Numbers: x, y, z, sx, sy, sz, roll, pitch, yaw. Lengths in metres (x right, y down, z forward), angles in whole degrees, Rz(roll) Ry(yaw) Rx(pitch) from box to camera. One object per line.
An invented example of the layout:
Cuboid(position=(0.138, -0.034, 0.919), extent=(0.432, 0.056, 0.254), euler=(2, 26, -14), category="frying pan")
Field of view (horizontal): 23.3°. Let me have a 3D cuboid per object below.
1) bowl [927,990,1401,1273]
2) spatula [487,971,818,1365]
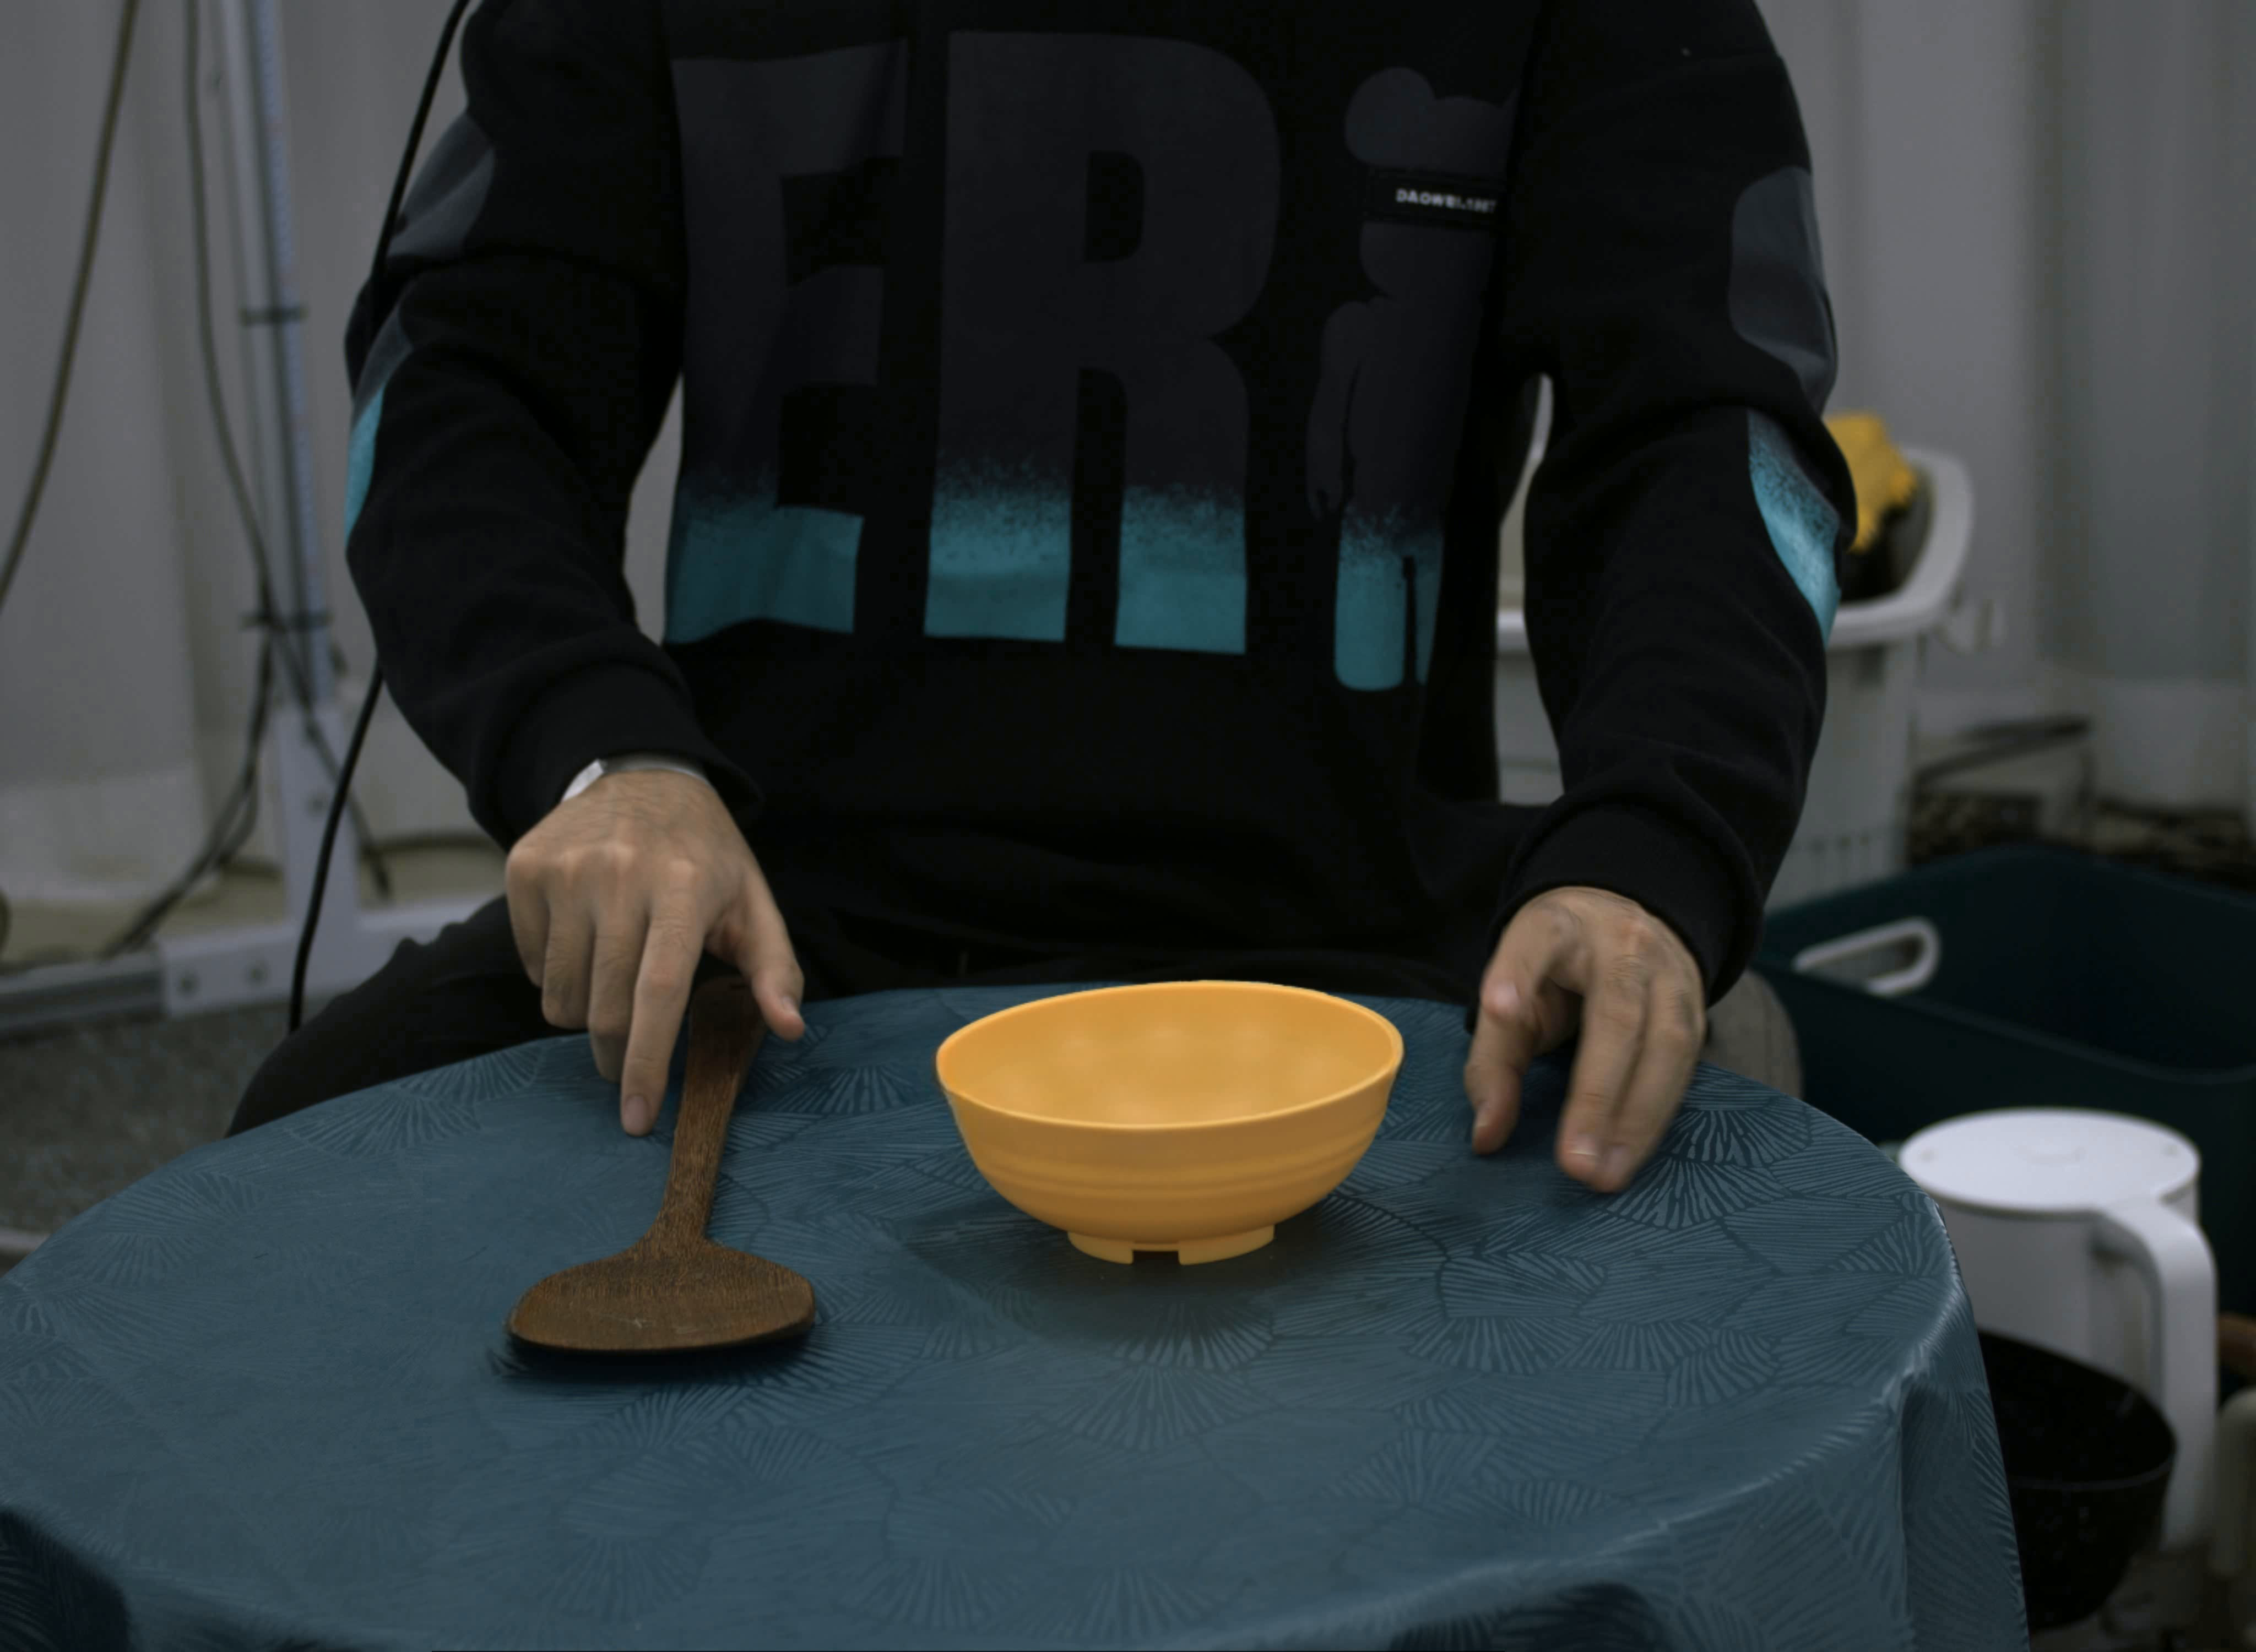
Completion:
Cuboid(position=(0.011, 0.098, 1.669), extent=(0.145, 0.060, 0.146), euler=(0, 14, 0), category="bowl")
Cuboid(position=(-0.139, 0.103, 1.752), extent=(0.096, 0.016, 0.388), euler=(-1, 15, 0), category="spatula")
